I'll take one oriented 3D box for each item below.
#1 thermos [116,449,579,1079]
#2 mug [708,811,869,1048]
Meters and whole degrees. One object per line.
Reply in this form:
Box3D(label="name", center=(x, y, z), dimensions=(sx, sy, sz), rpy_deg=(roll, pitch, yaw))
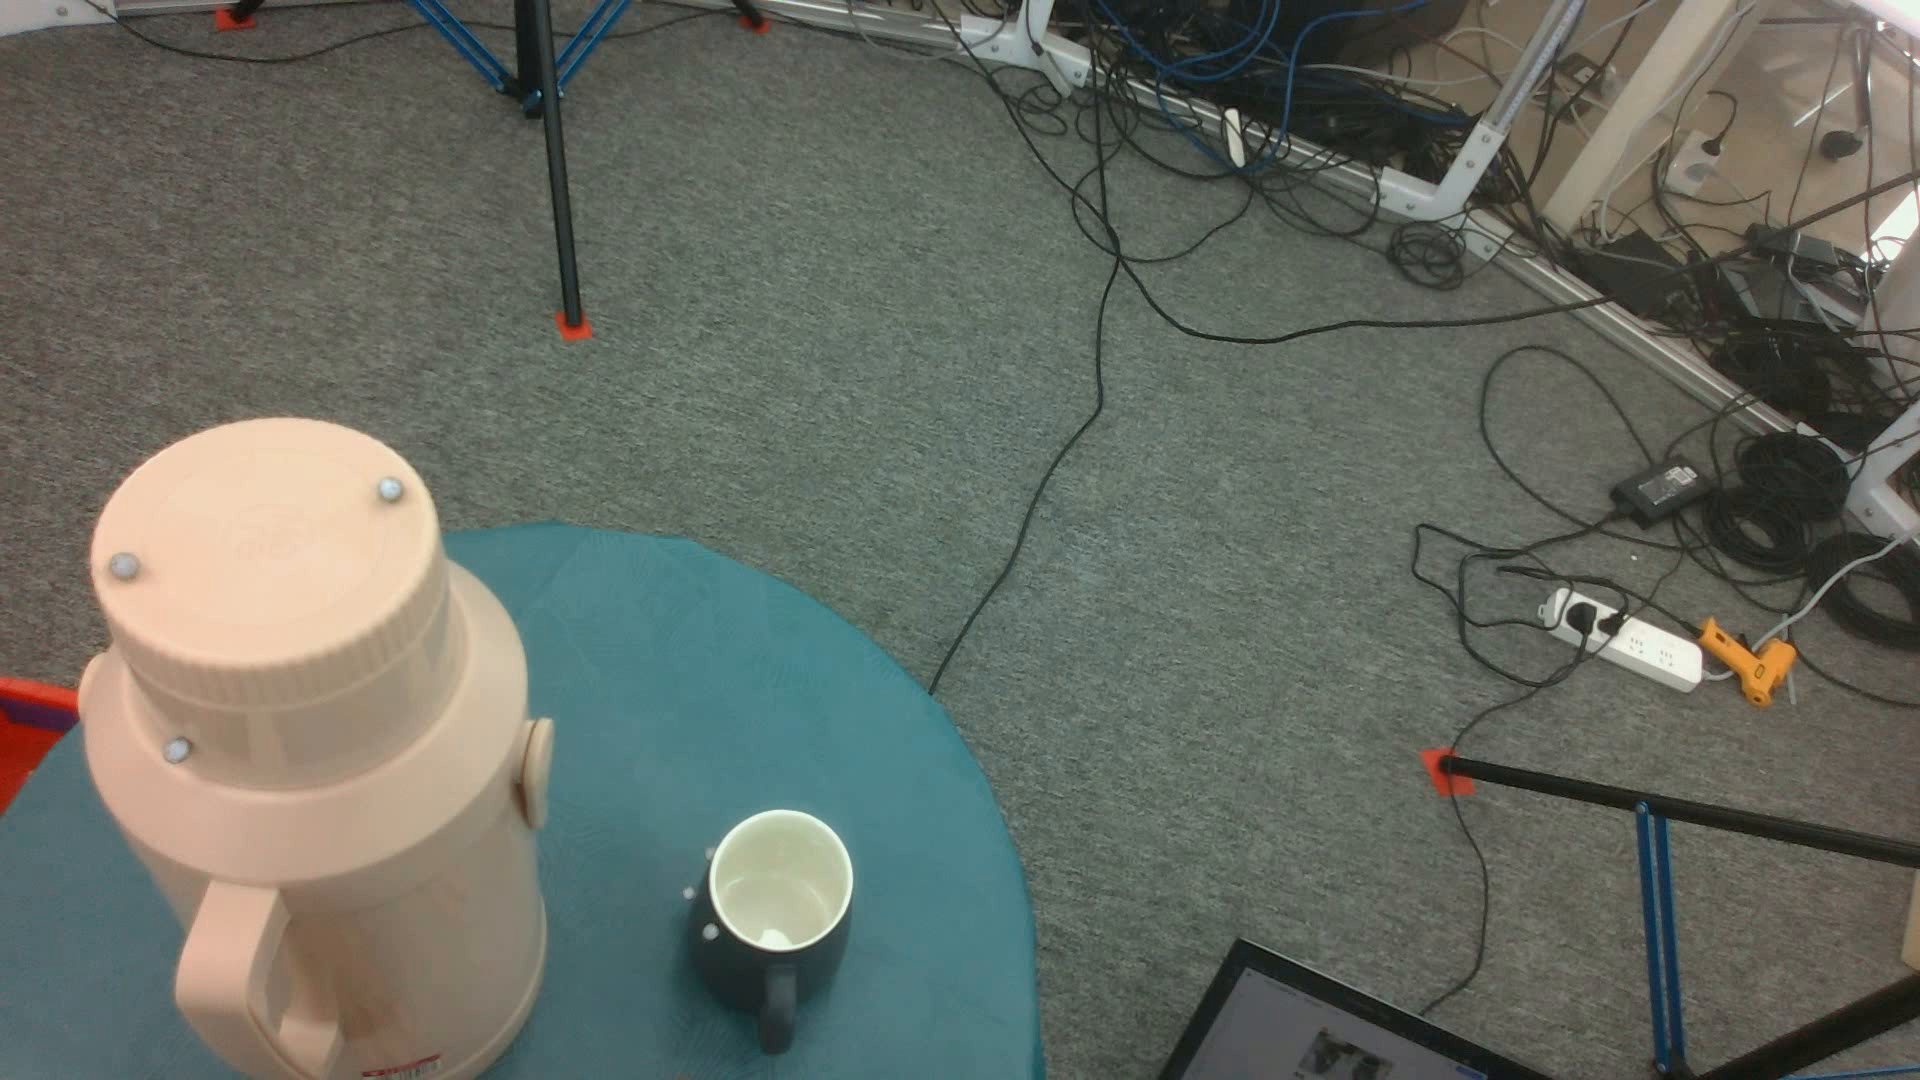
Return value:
Box3D(label="thermos", center=(-0.266, 0.140, 0.619), dimensions=(0.175, 0.404, 0.208), rpy_deg=(7, 51, -8))
Box3D(label="mug", center=(-0.096, 0.225, 0.788), dimensions=(0.093, 0.089, 0.124), rpy_deg=(1, 52, -12))
